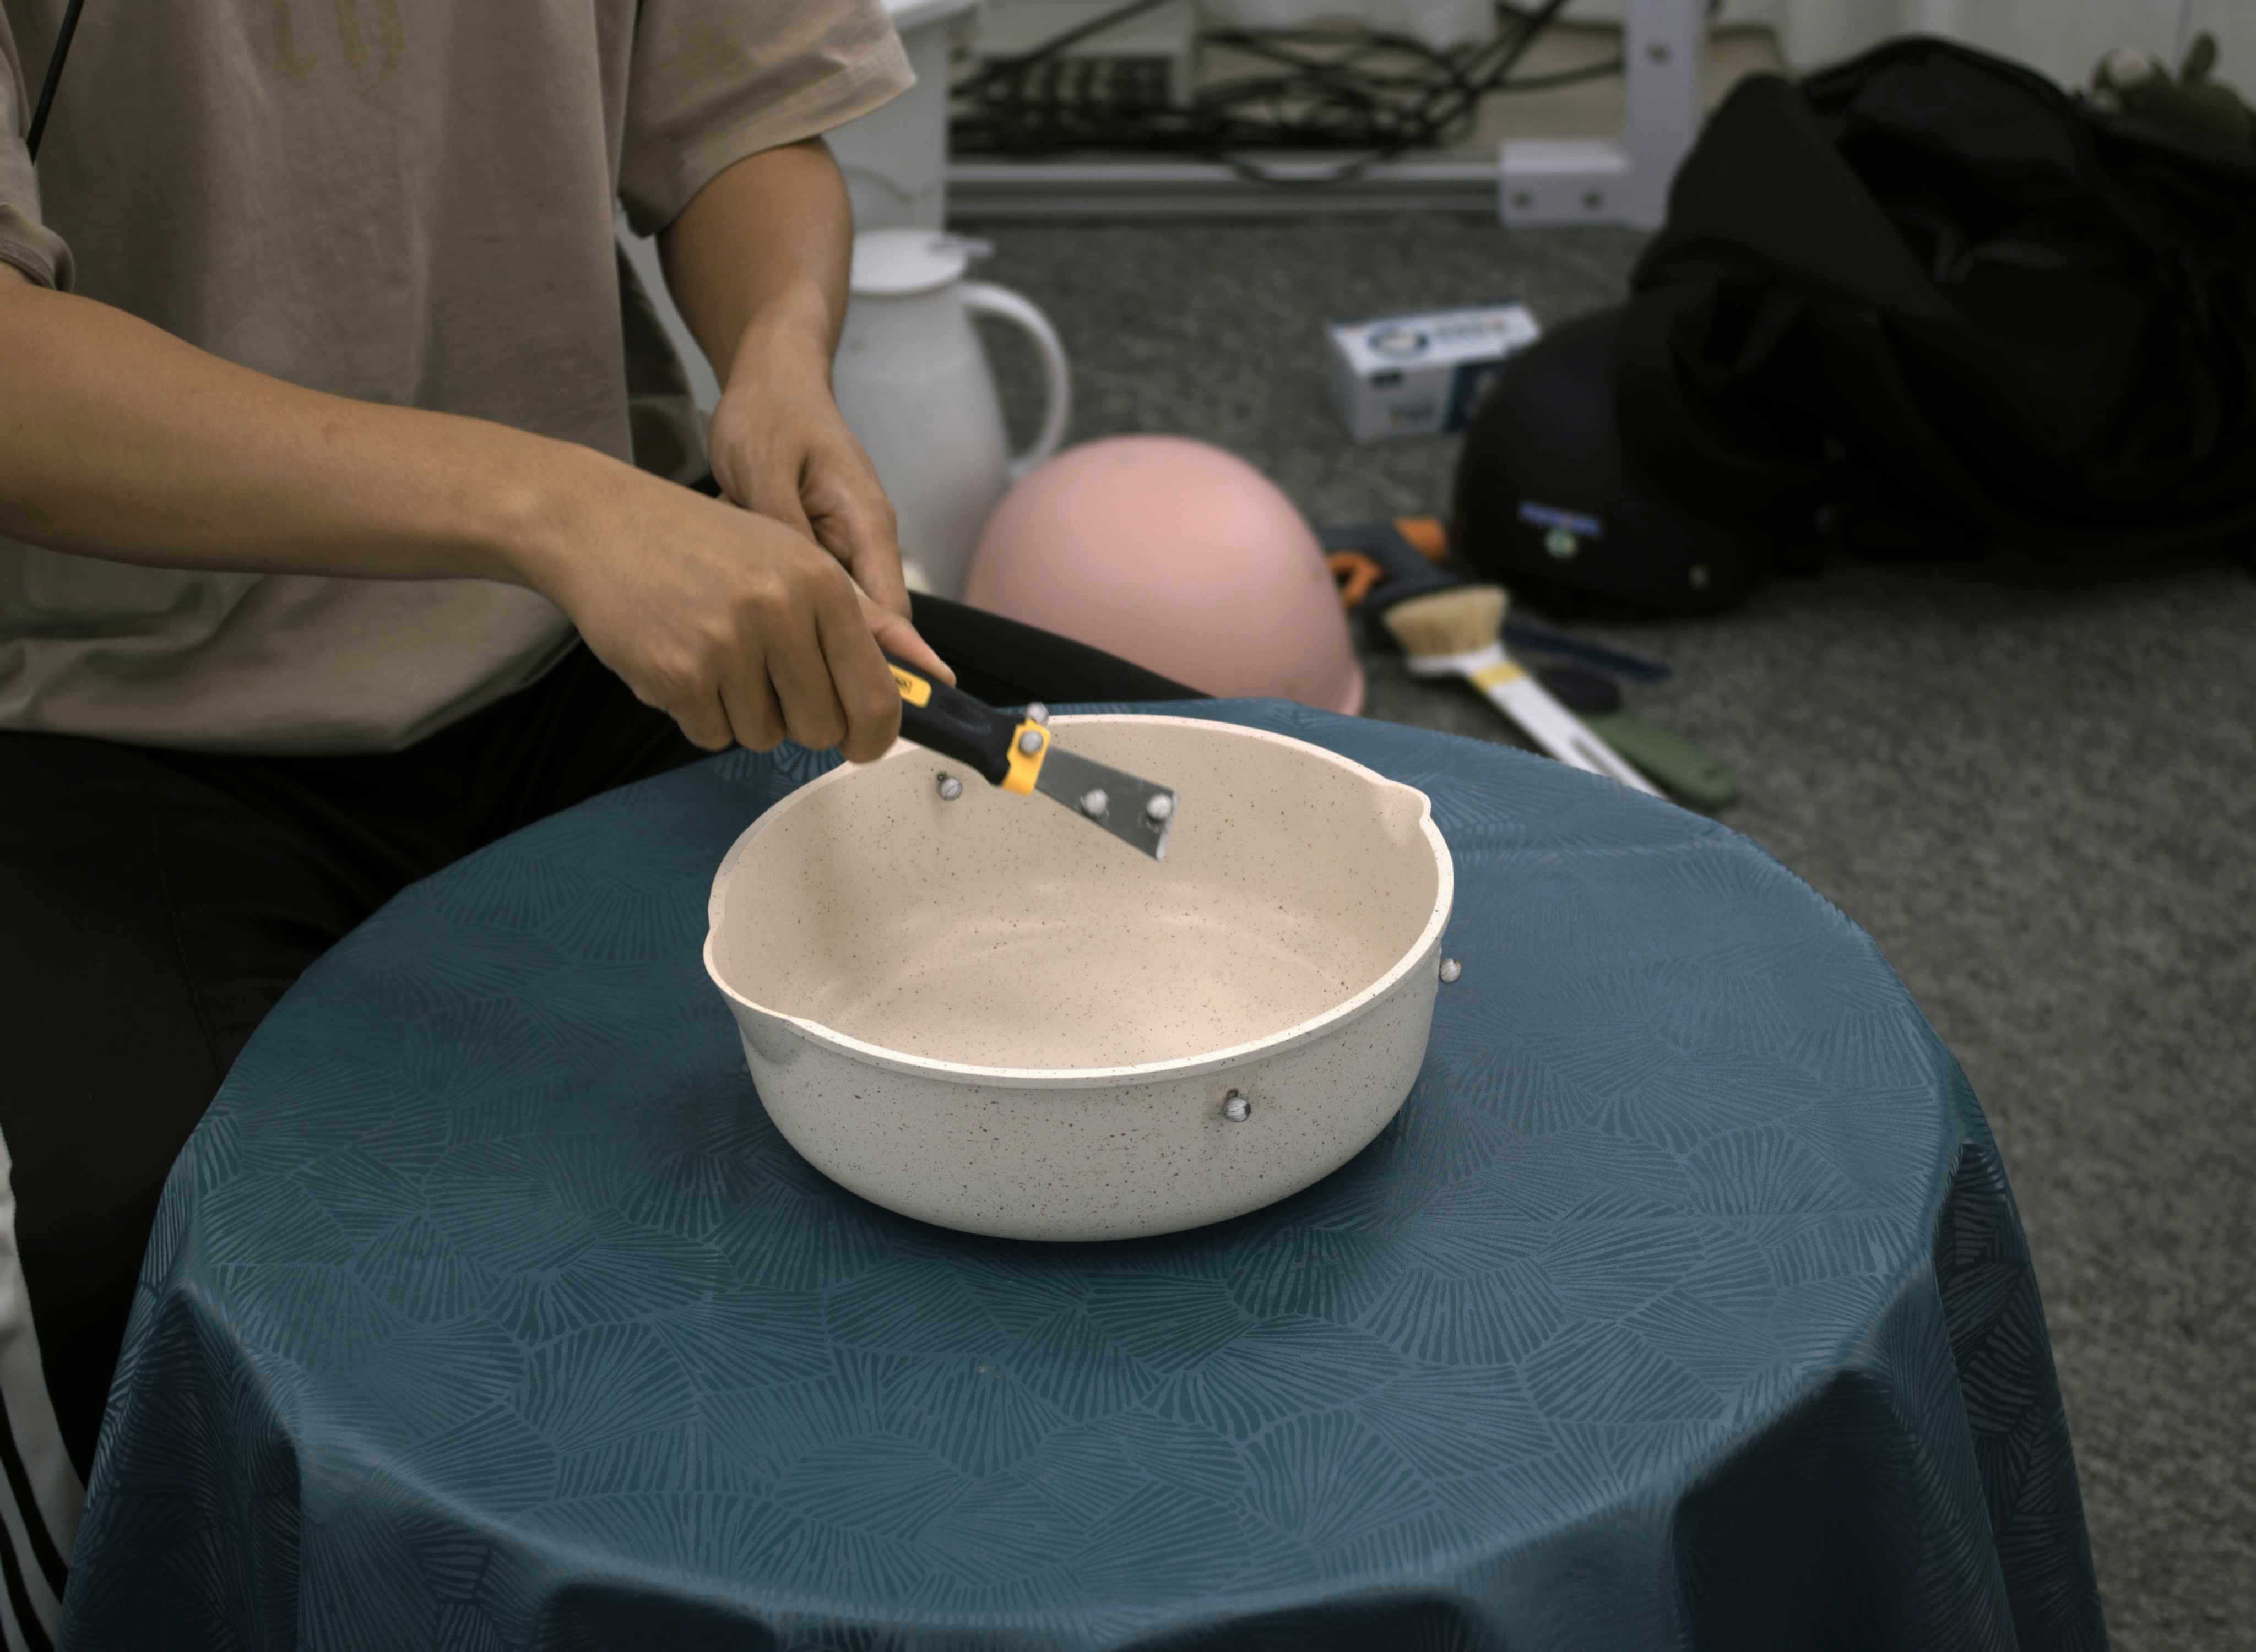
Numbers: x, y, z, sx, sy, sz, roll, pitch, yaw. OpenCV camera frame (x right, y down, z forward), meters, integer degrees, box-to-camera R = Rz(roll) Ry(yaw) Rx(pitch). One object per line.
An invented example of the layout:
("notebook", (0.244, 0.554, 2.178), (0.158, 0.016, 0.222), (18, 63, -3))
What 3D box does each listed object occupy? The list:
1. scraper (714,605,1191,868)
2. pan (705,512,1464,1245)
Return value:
("scraper", (-0.059, -0.031, 1.888), (0.170, 0.014, 0.039), (23, 50, -9))
("pan", (-0.049, 0.012, 1.977), (0.264, 0.101, 0.437), (-17, 30, -20))
